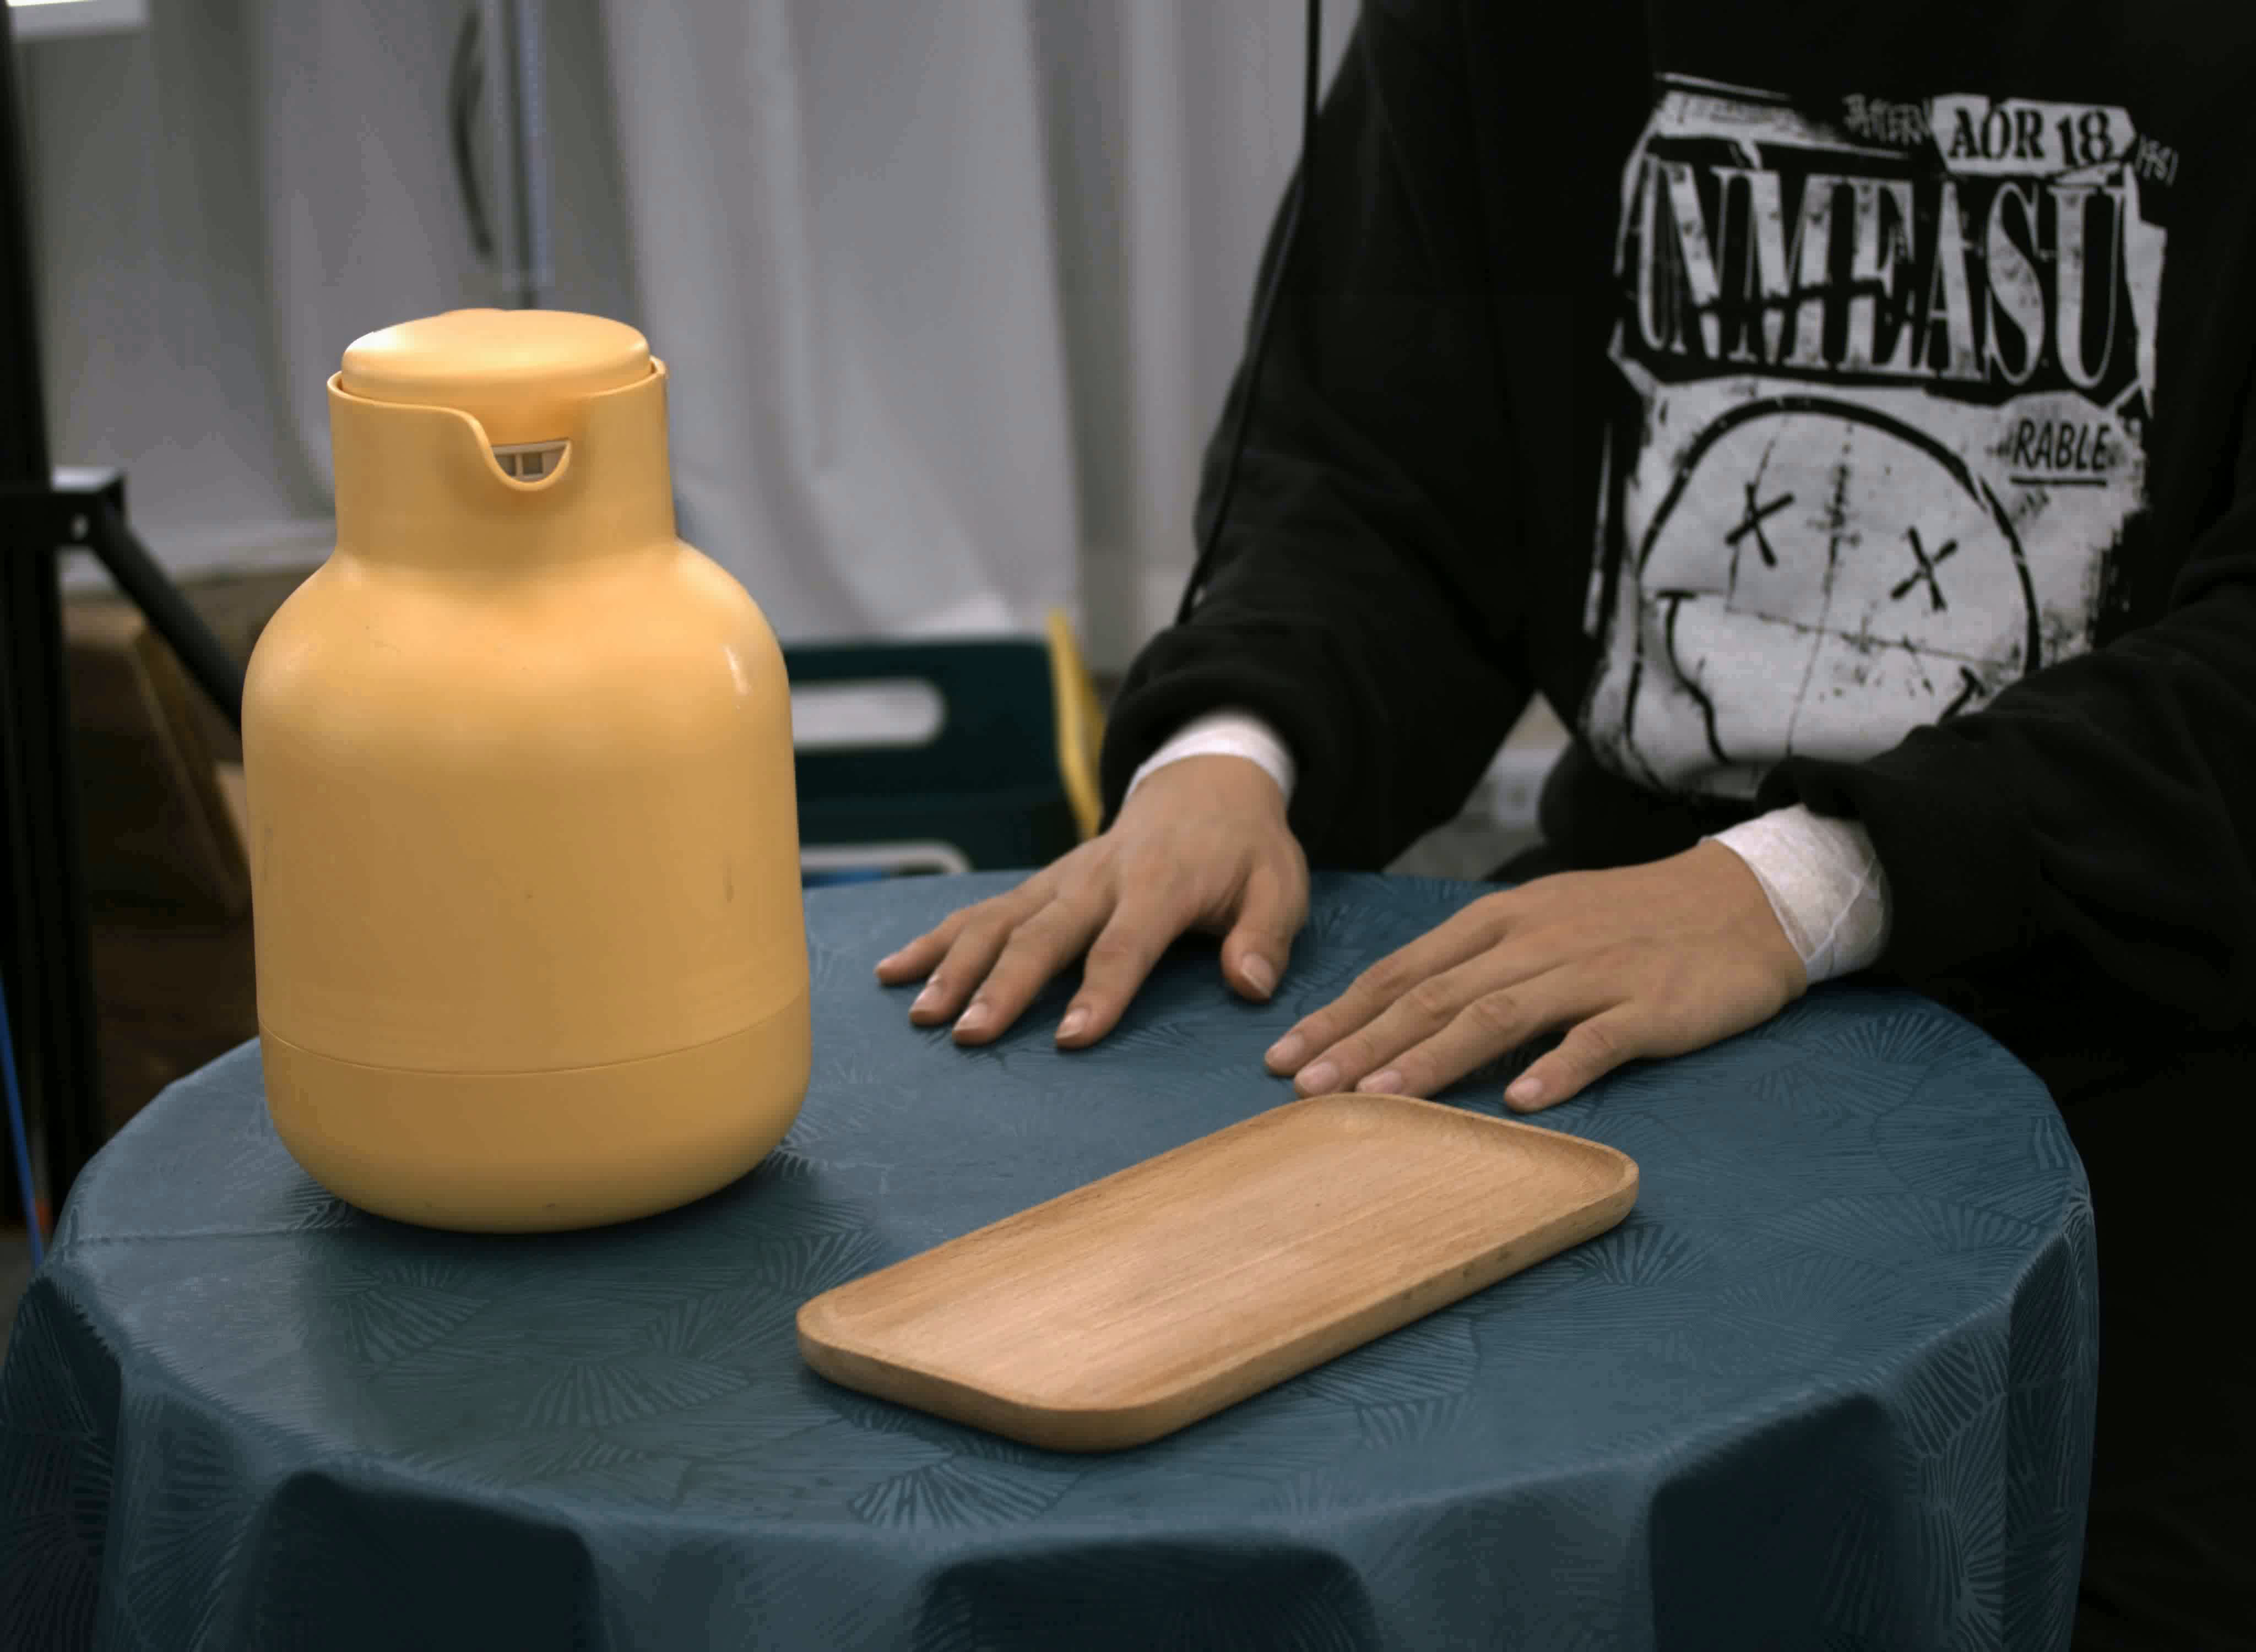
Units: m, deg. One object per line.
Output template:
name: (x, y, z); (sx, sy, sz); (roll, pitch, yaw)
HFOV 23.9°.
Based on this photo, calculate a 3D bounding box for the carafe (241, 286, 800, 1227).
carafe: (-0.181, -0.029, 1.584); (0.161, 0.260, 0.205); (-2, 17, -9)

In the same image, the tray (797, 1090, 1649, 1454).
tray: (0.030, 0.121, 1.472); (0.133, 0.023, 0.245); (15, 23, 42)
